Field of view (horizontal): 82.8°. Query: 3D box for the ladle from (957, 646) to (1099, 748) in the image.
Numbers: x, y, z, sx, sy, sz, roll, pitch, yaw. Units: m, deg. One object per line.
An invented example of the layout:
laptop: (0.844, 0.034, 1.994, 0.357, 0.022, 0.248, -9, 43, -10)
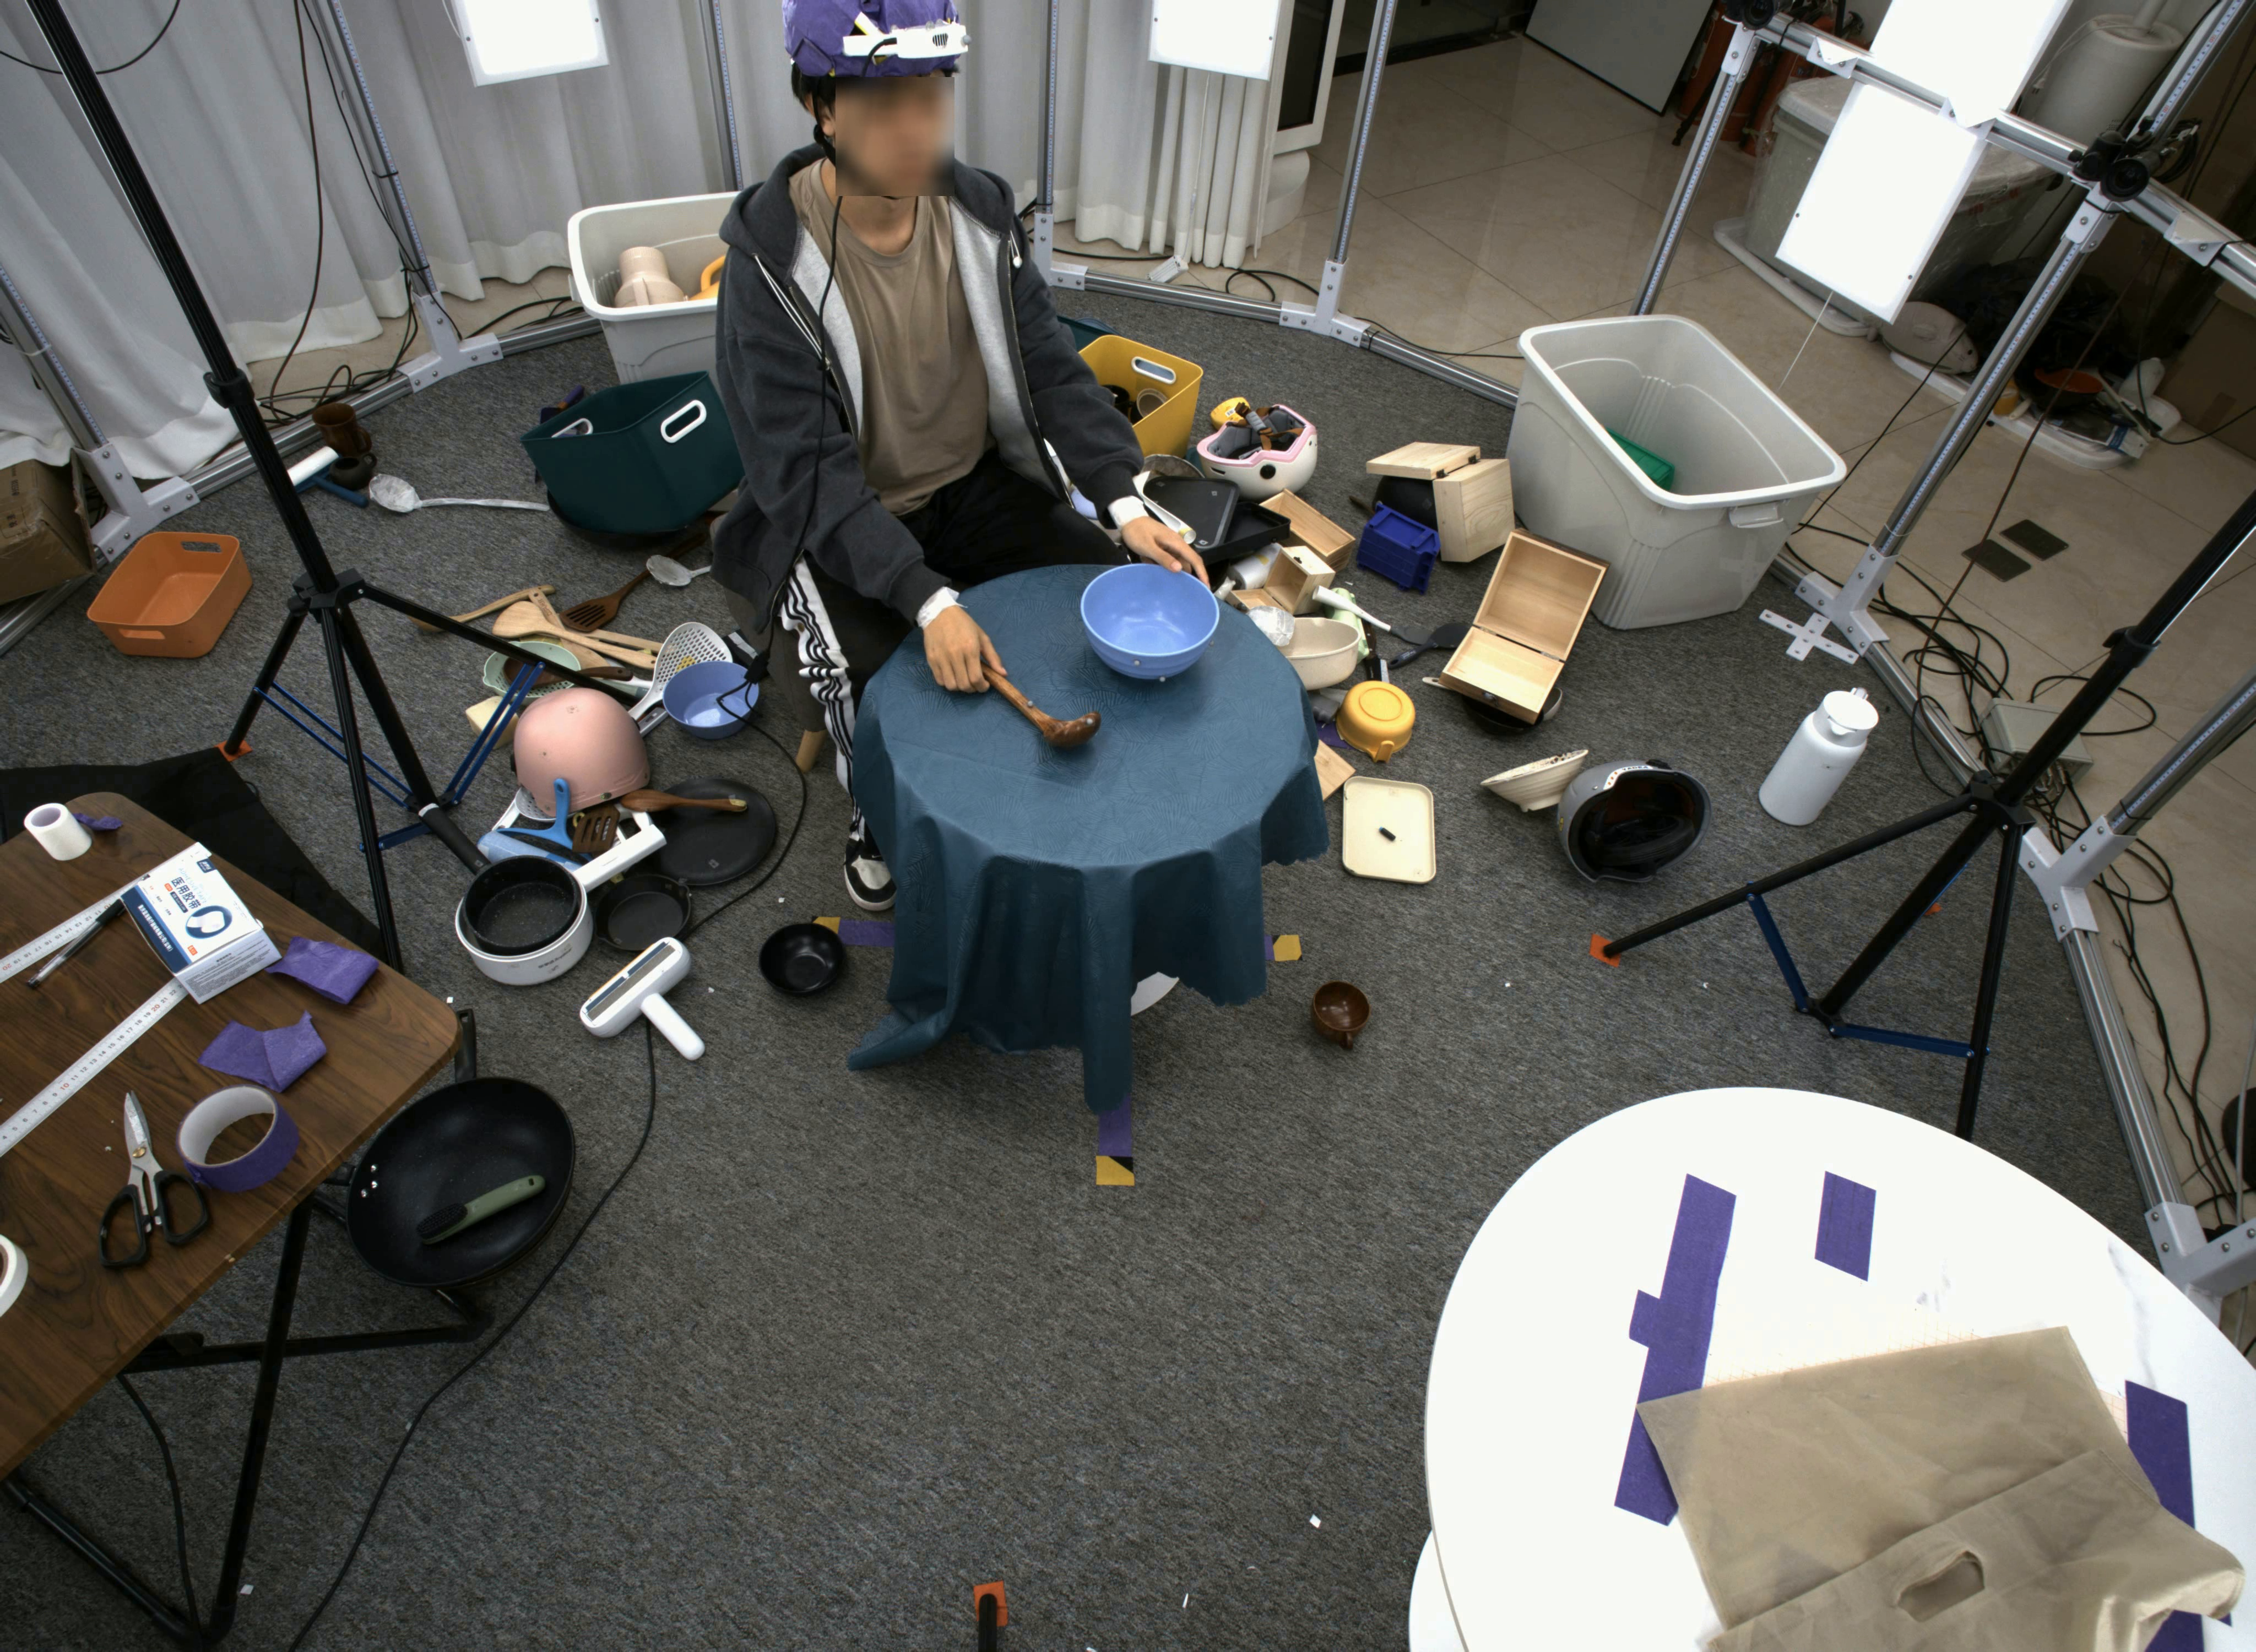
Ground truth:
ladle: (-0.147, -0.195, 1.774, 0.082, 0.075, 0.279, -24, 54, -36)

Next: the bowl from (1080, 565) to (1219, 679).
bowl: (0.029, -0.278, 1.850, 0.196, 0.093, 0.201, 1, 48, -2)
